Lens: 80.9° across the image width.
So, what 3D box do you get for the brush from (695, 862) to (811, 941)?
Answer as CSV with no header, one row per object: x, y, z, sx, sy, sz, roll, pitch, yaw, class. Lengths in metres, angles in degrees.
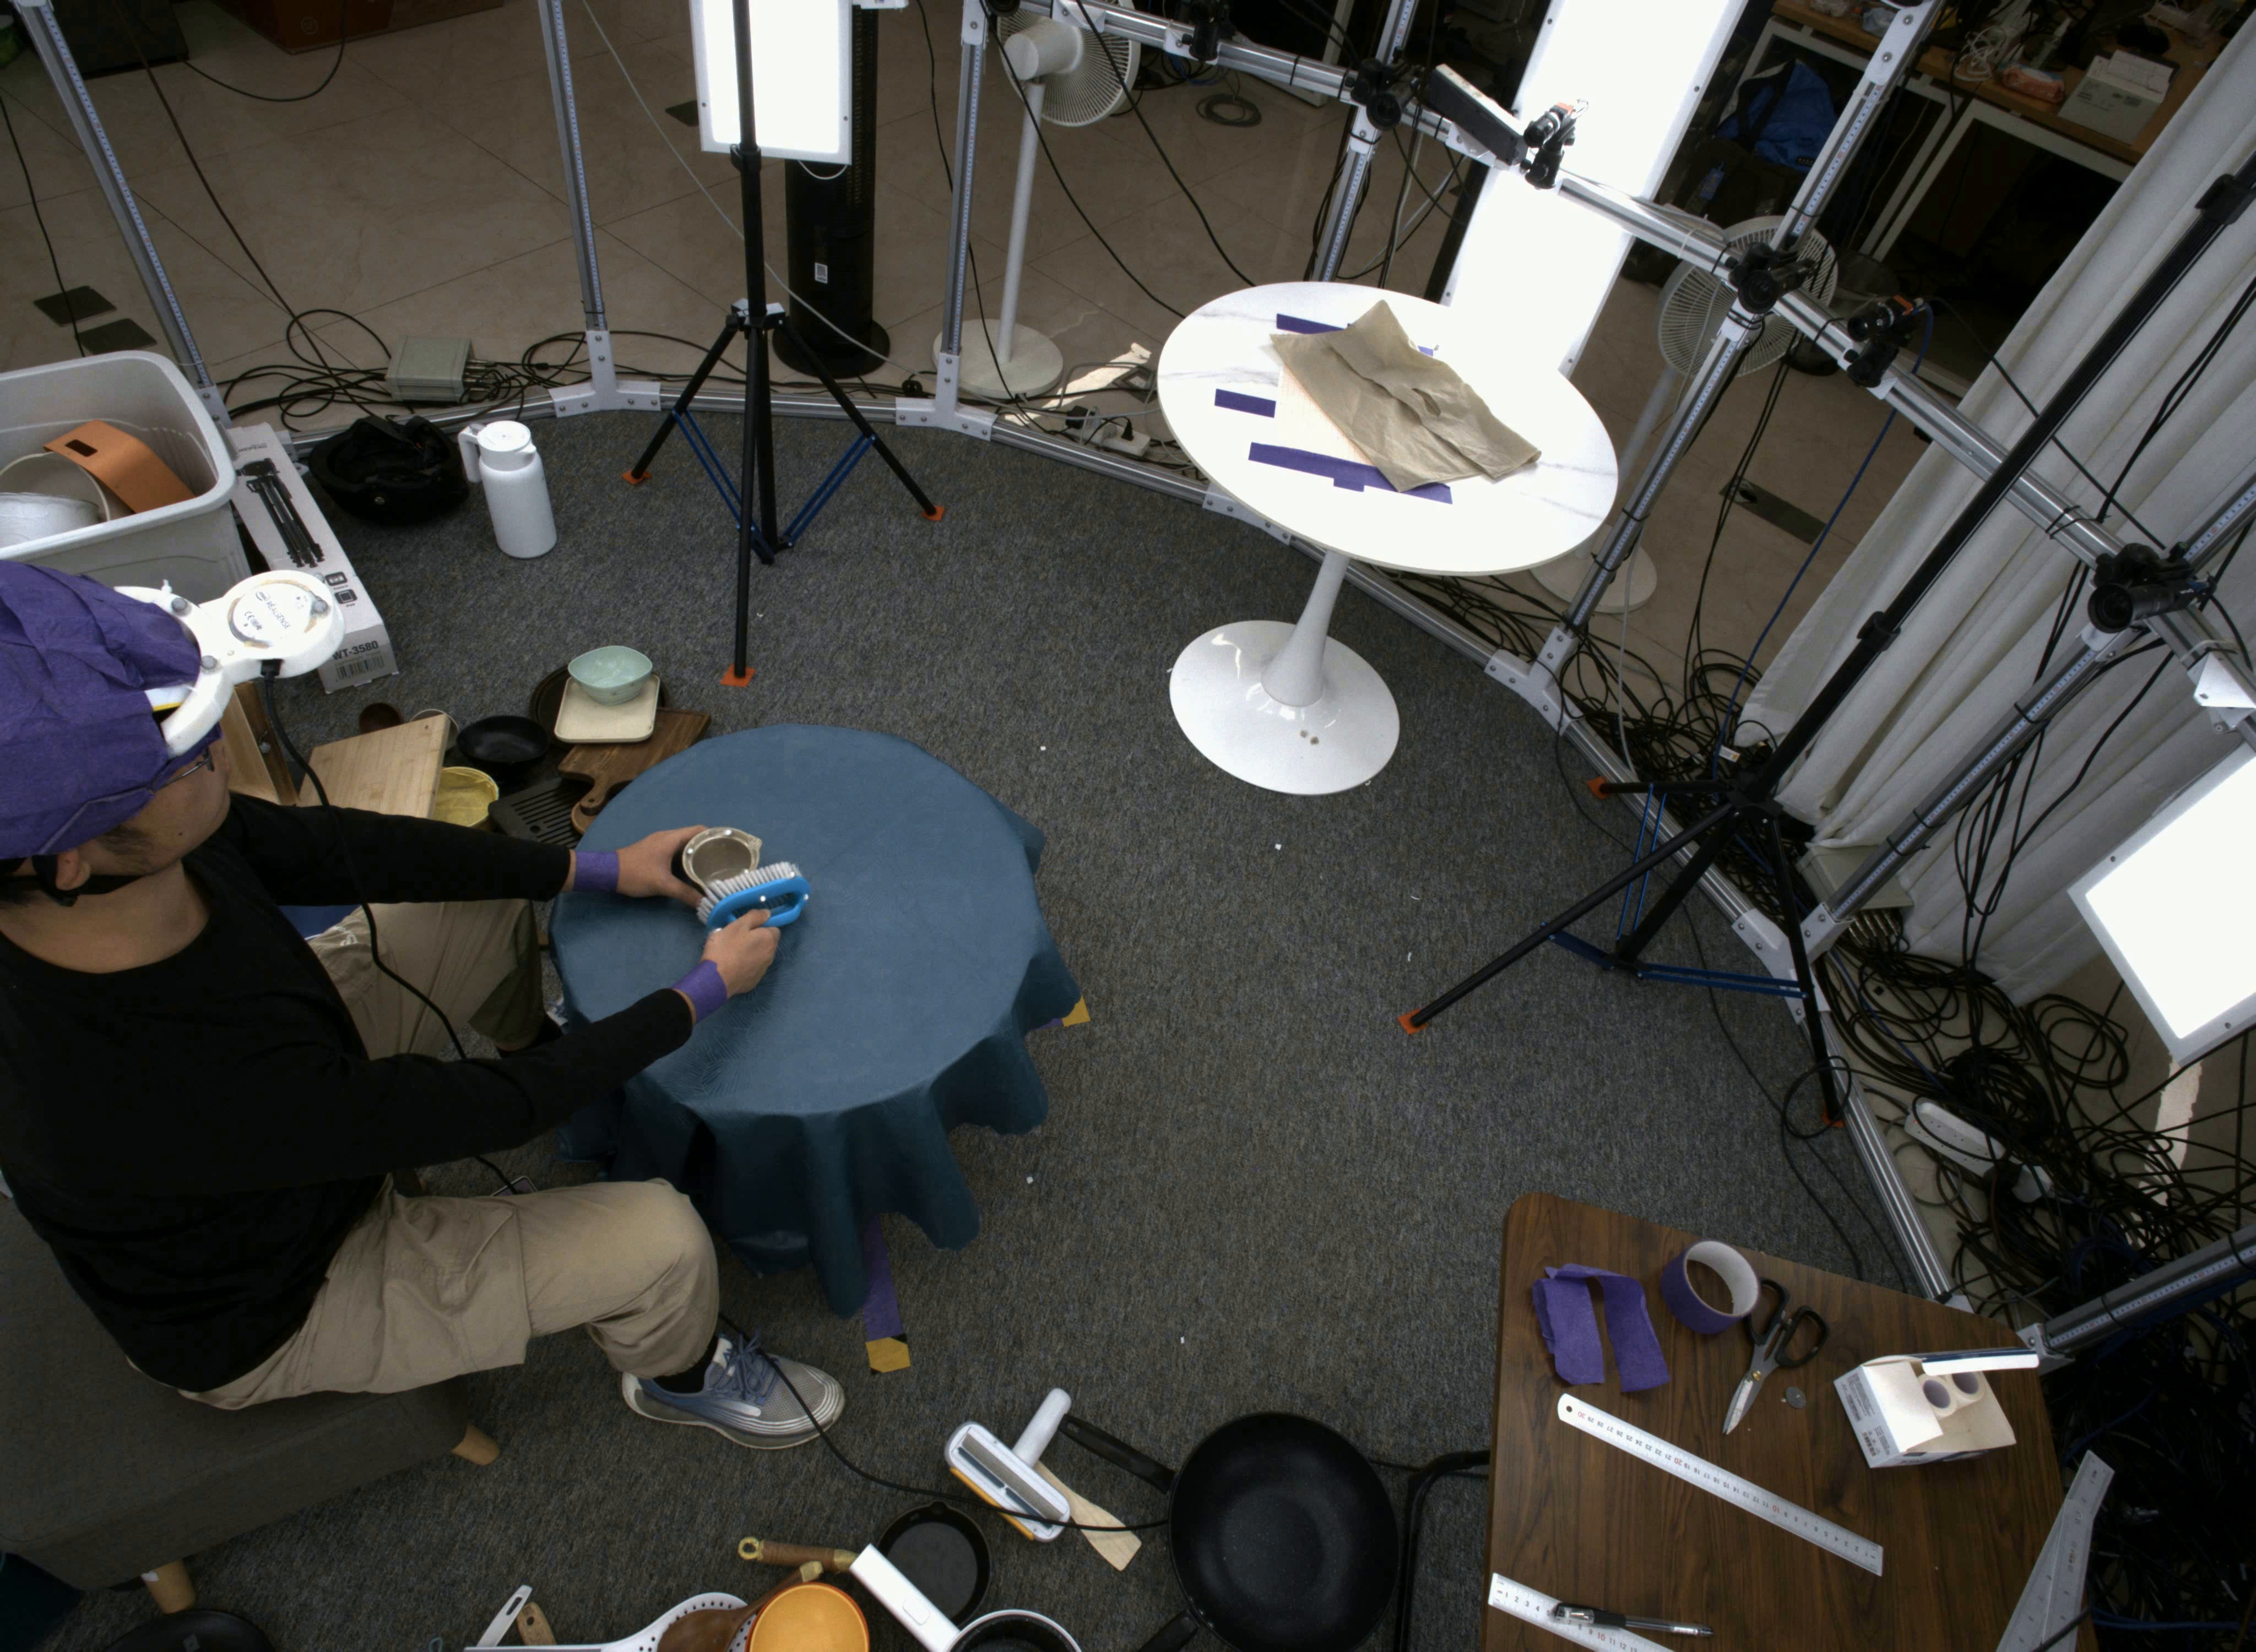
-0.450,0.100,1.580,0.143,0.086,0.062,-18,52,-39,brush

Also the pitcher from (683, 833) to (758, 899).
-0.508,0.055,1.617,0.096,0.073,0.081,-21,59,-28,pitcher
